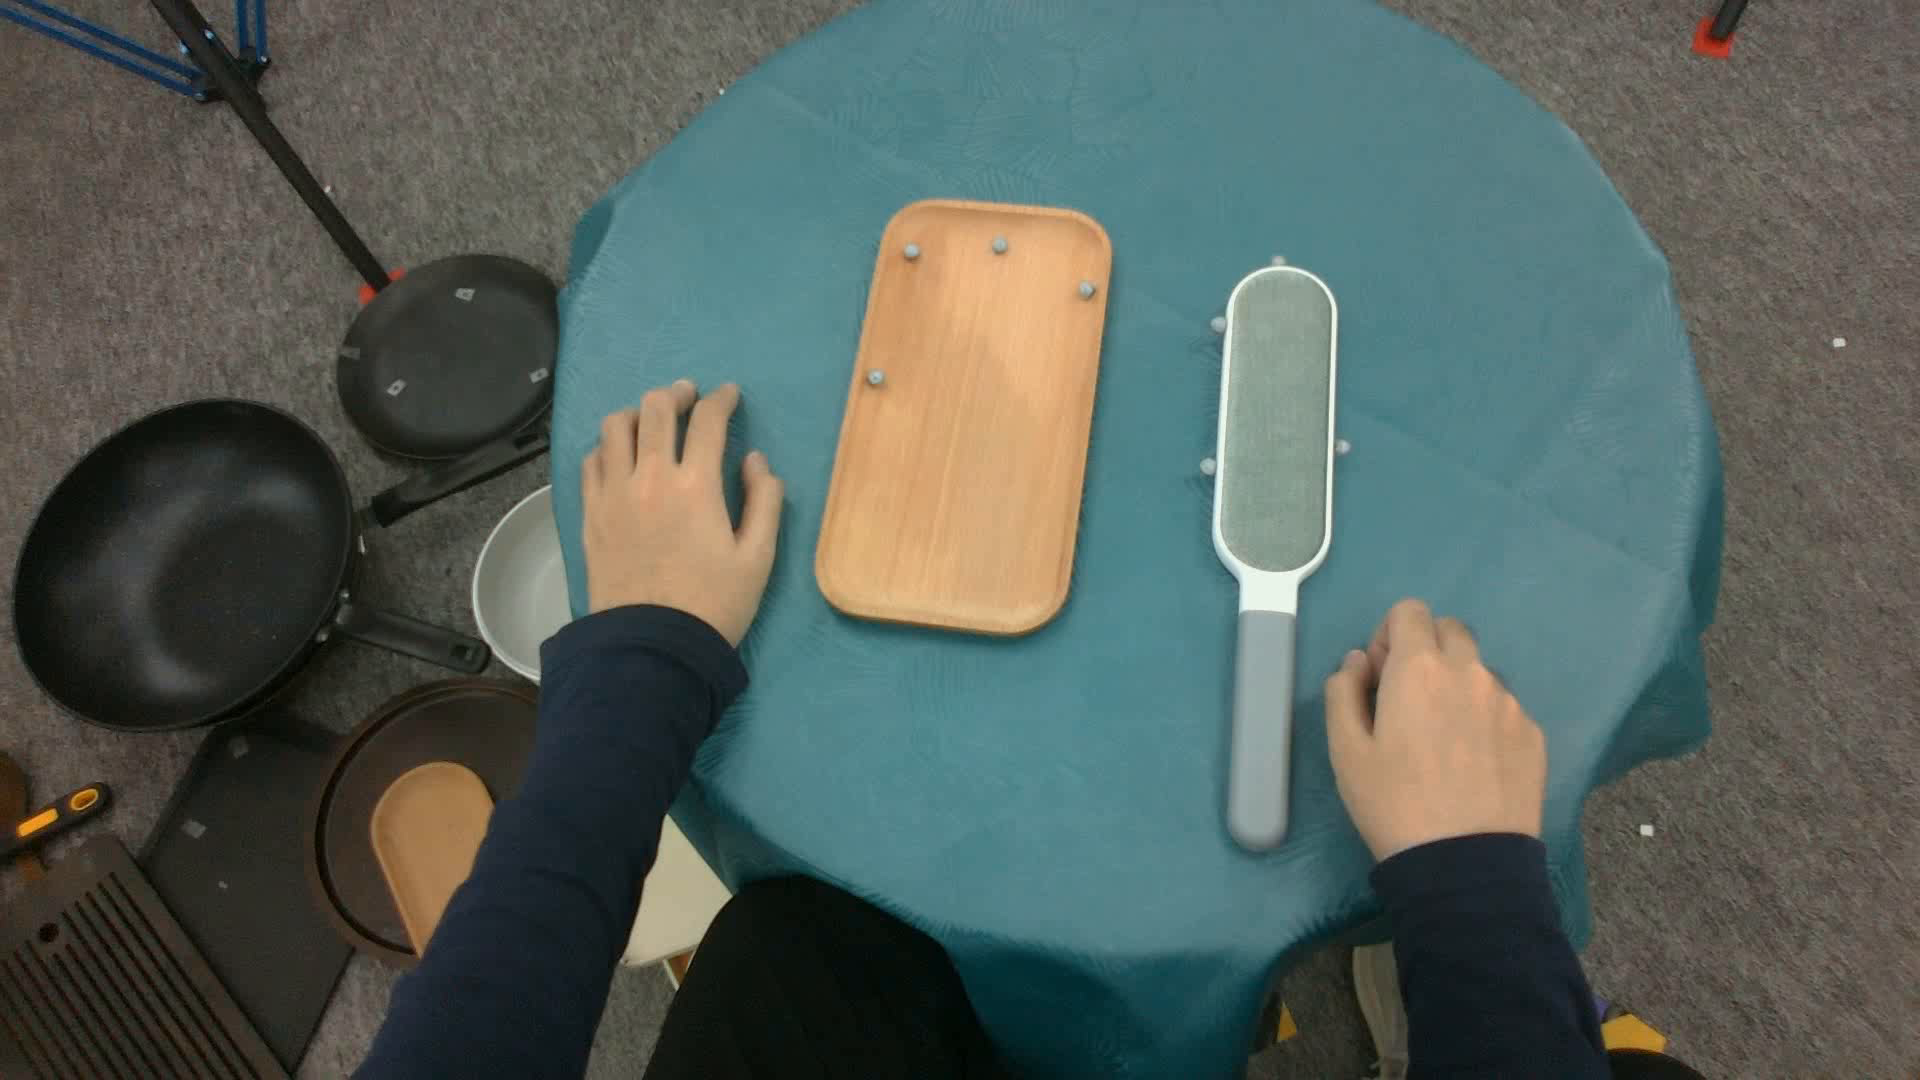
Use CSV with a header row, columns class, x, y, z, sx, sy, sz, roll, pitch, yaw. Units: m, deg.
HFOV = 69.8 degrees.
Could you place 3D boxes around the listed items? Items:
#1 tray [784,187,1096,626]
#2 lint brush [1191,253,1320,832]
class,x,y,z,sx,sy,sz,roll,pitch,yaw
tray,-0.006,-0.076,0.715,0.130,0.023,0.251,8,66,9
lint brush,0.142,-0.011,0.672,0.060,0.021,0.310,8,66,1
